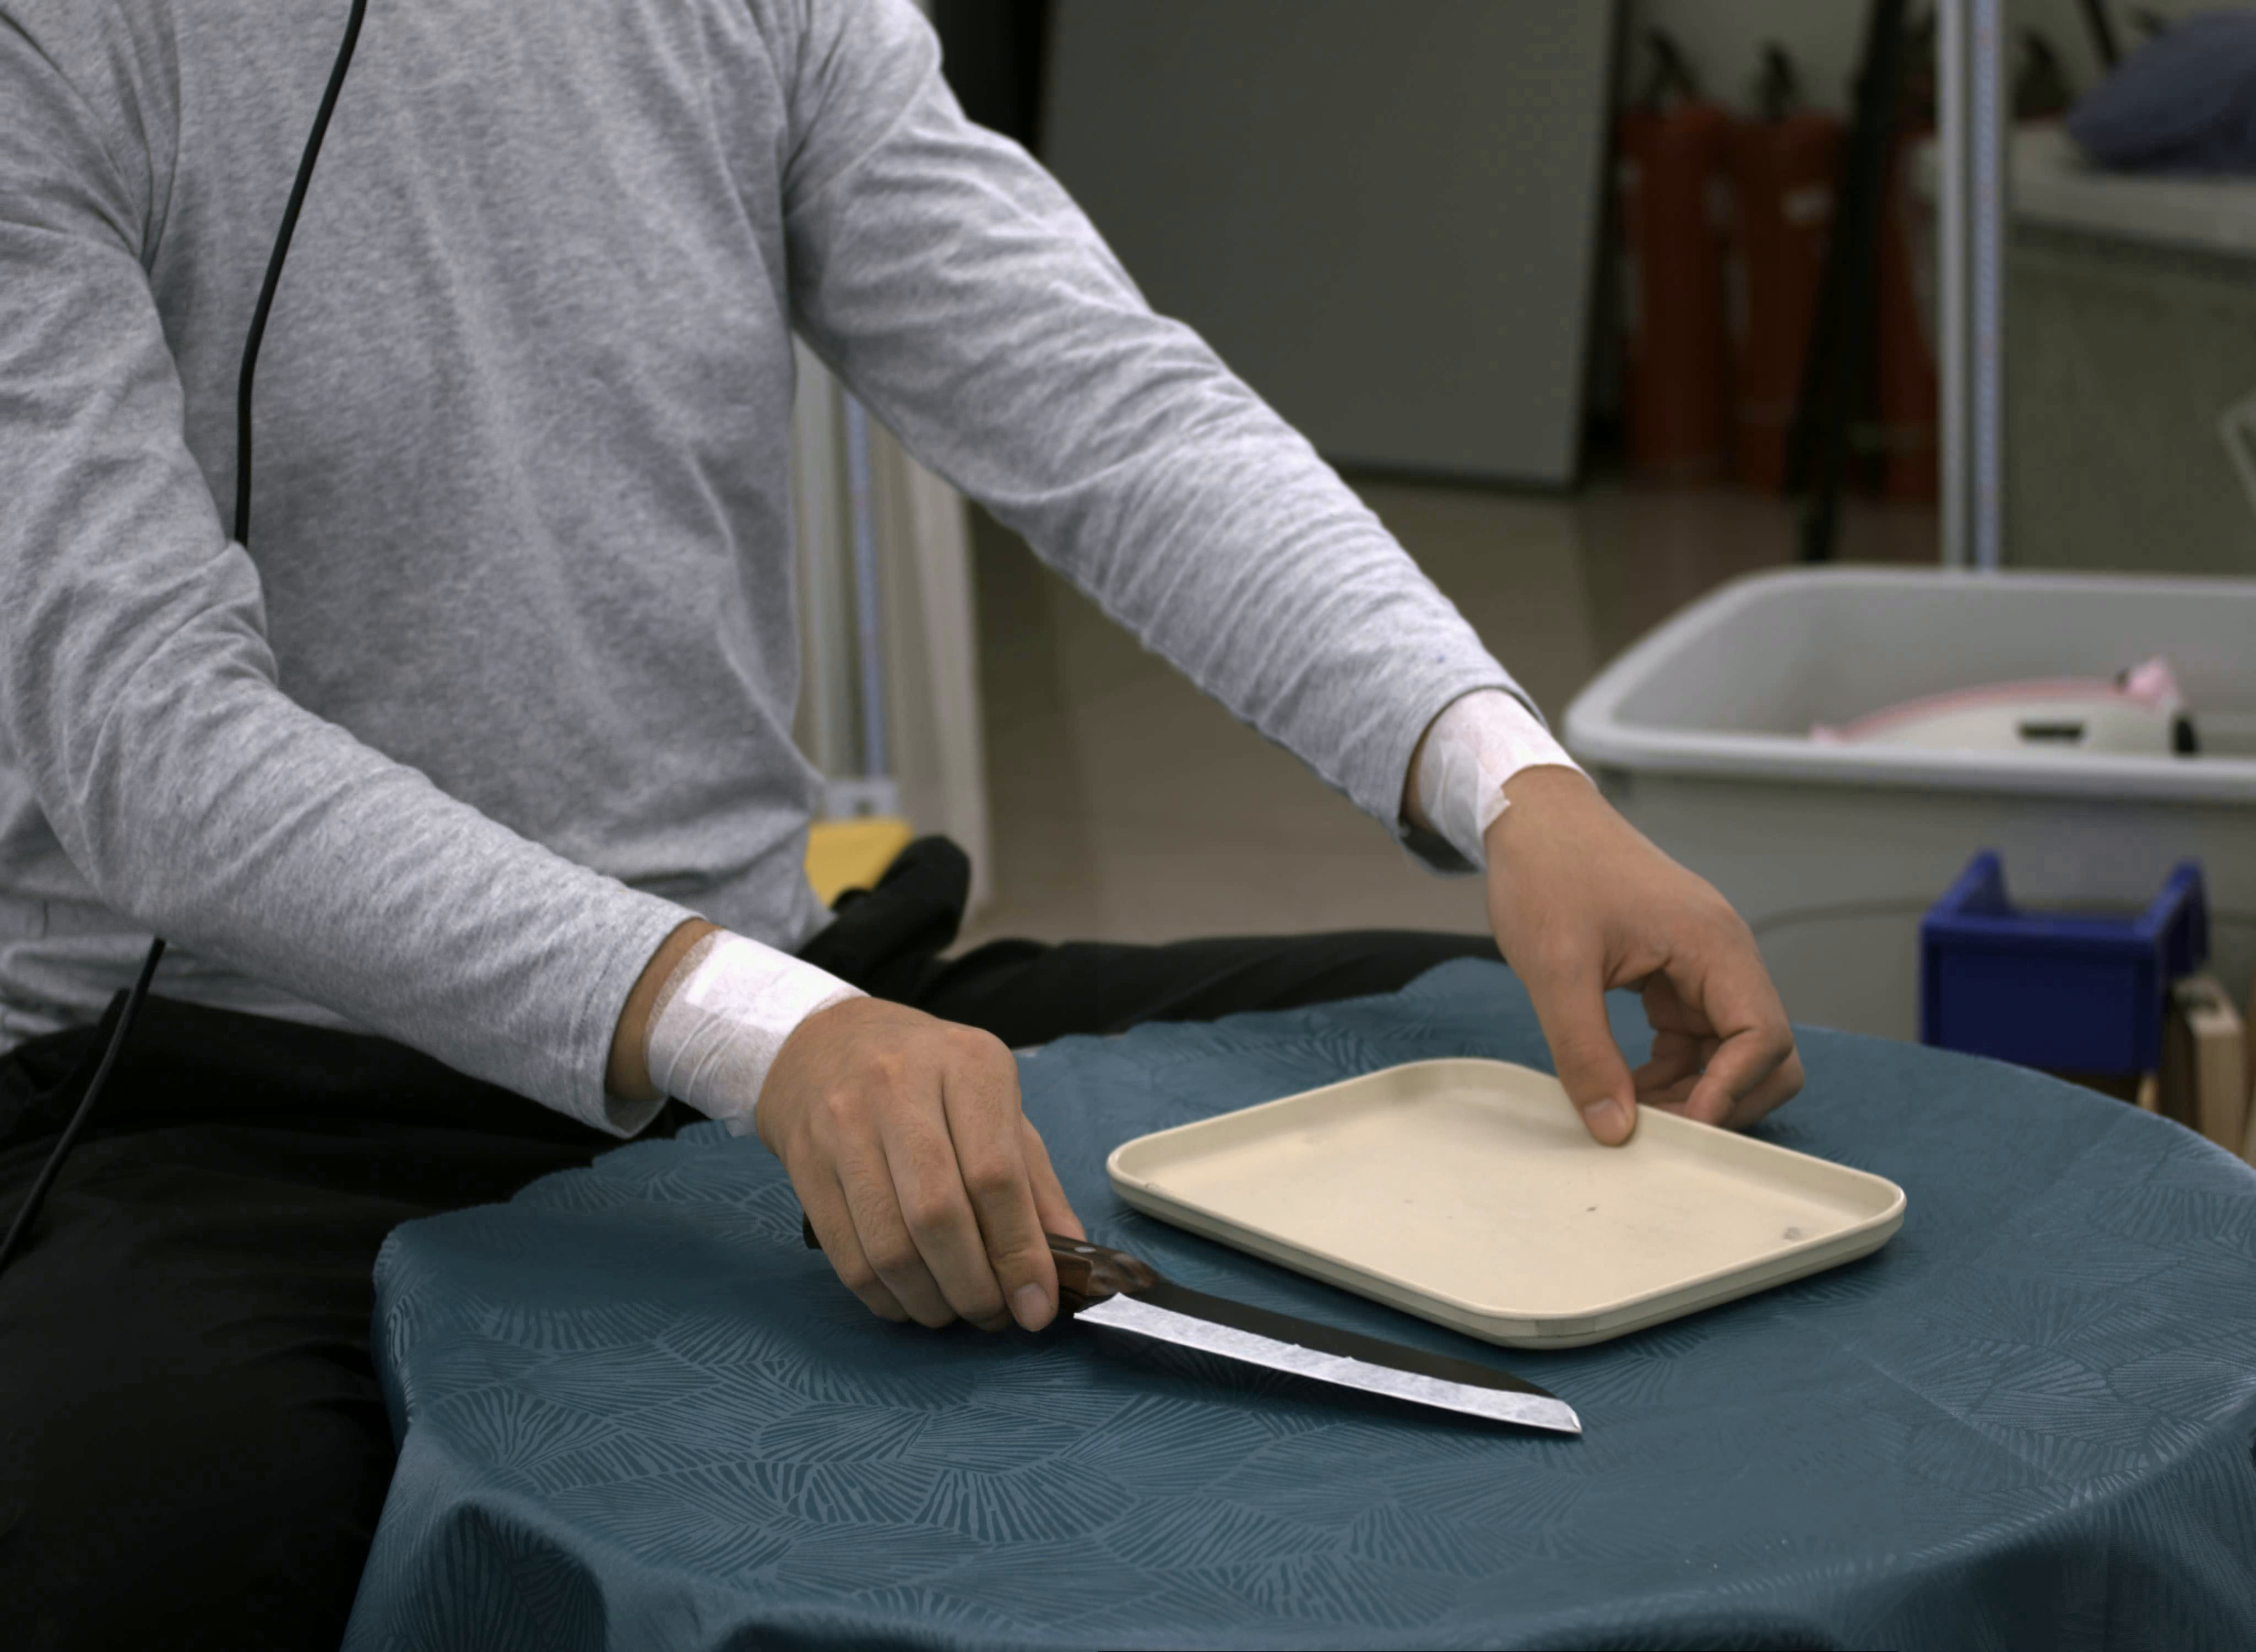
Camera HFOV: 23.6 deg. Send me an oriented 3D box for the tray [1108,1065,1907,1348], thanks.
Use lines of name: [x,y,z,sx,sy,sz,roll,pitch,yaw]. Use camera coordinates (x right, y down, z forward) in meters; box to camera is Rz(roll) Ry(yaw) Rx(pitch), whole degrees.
tray: [0.118,0.120,1.711,0.167,0.017,0.242,-13,16,-33]

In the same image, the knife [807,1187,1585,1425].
knife: [0.015,0.145,1.608,0.291,0.020,0.049,11,19,36]
